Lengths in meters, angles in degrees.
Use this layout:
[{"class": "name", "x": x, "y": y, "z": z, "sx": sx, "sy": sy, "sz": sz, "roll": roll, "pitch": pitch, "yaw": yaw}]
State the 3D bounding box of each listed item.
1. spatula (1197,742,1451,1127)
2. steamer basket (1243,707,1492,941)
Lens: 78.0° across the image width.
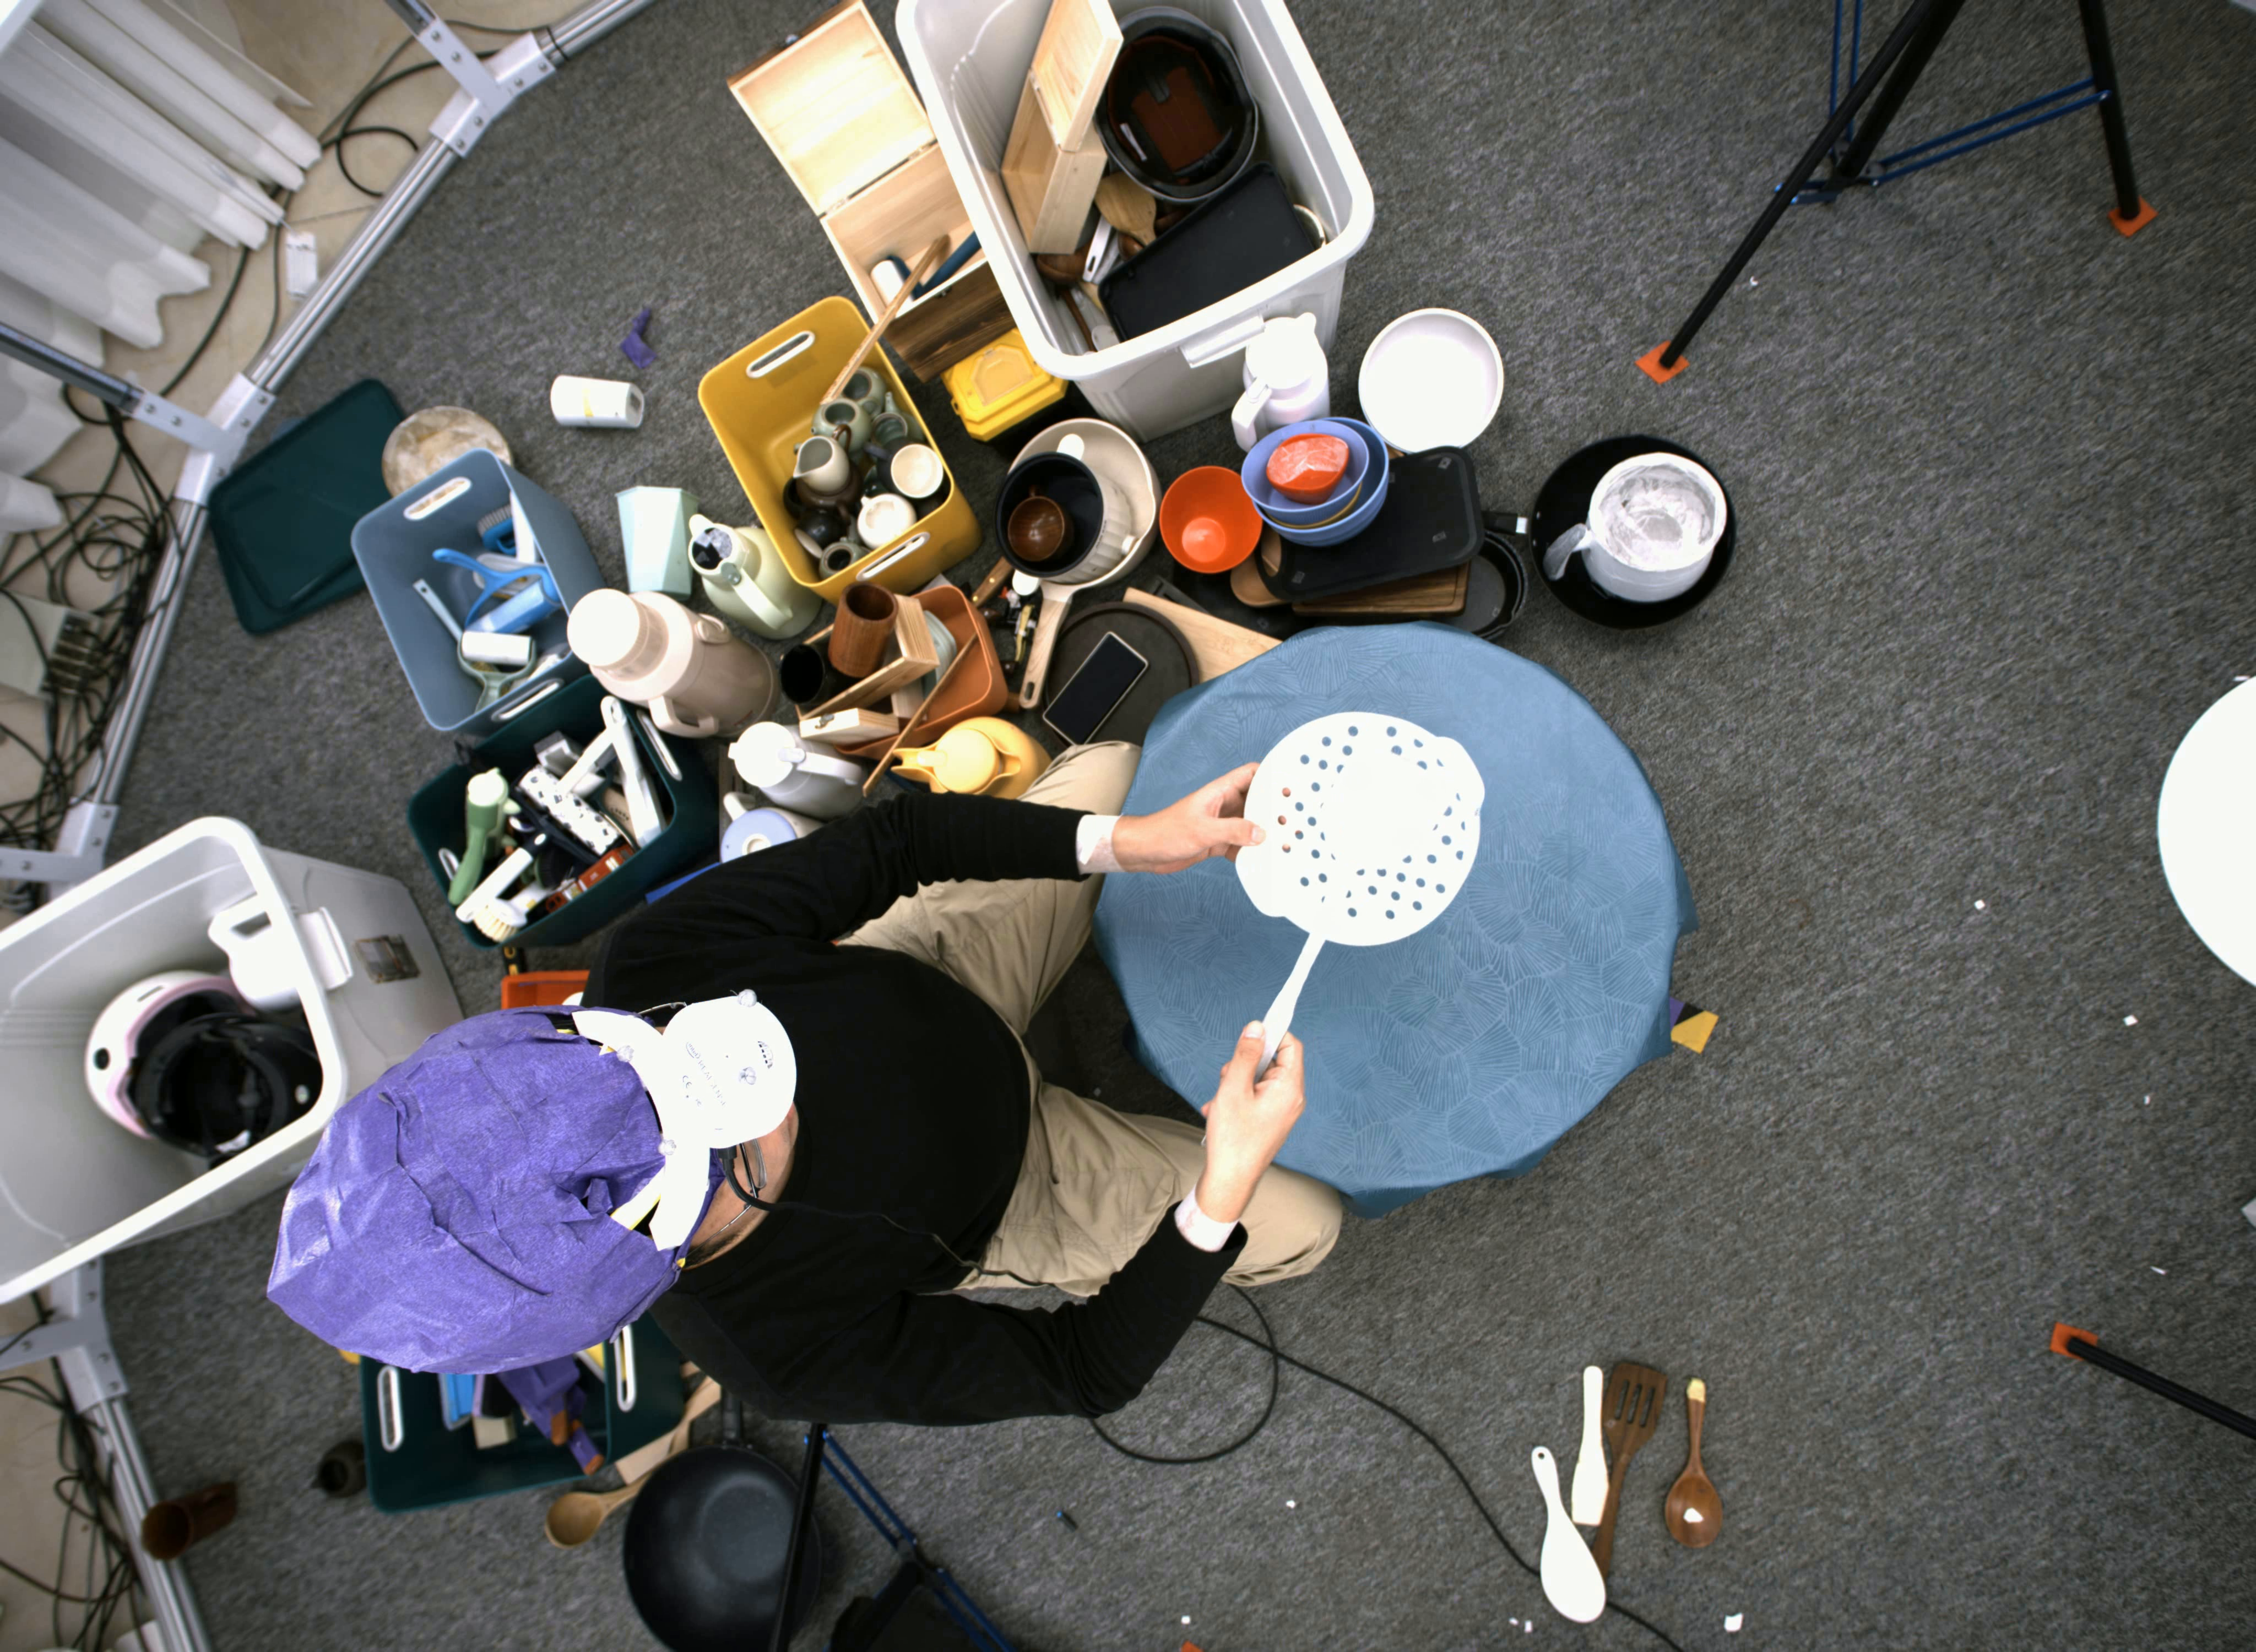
[{"class": "spatula", "x": 0.156, "y": 0.100, "z": 1.178, "sx": 0.099, "sy": 0.045, "sz": 0.363, "roll": 28, "pitch": 85, "yaw": -10}, {"class": "steamer basket", "x": 0.212, "y": -0.005, "z": 1.203, "sx": 0.234, "sy": 0.068, "sz": 0.201, "roll": -30, "pitch": 85, "yaw": 26}]
